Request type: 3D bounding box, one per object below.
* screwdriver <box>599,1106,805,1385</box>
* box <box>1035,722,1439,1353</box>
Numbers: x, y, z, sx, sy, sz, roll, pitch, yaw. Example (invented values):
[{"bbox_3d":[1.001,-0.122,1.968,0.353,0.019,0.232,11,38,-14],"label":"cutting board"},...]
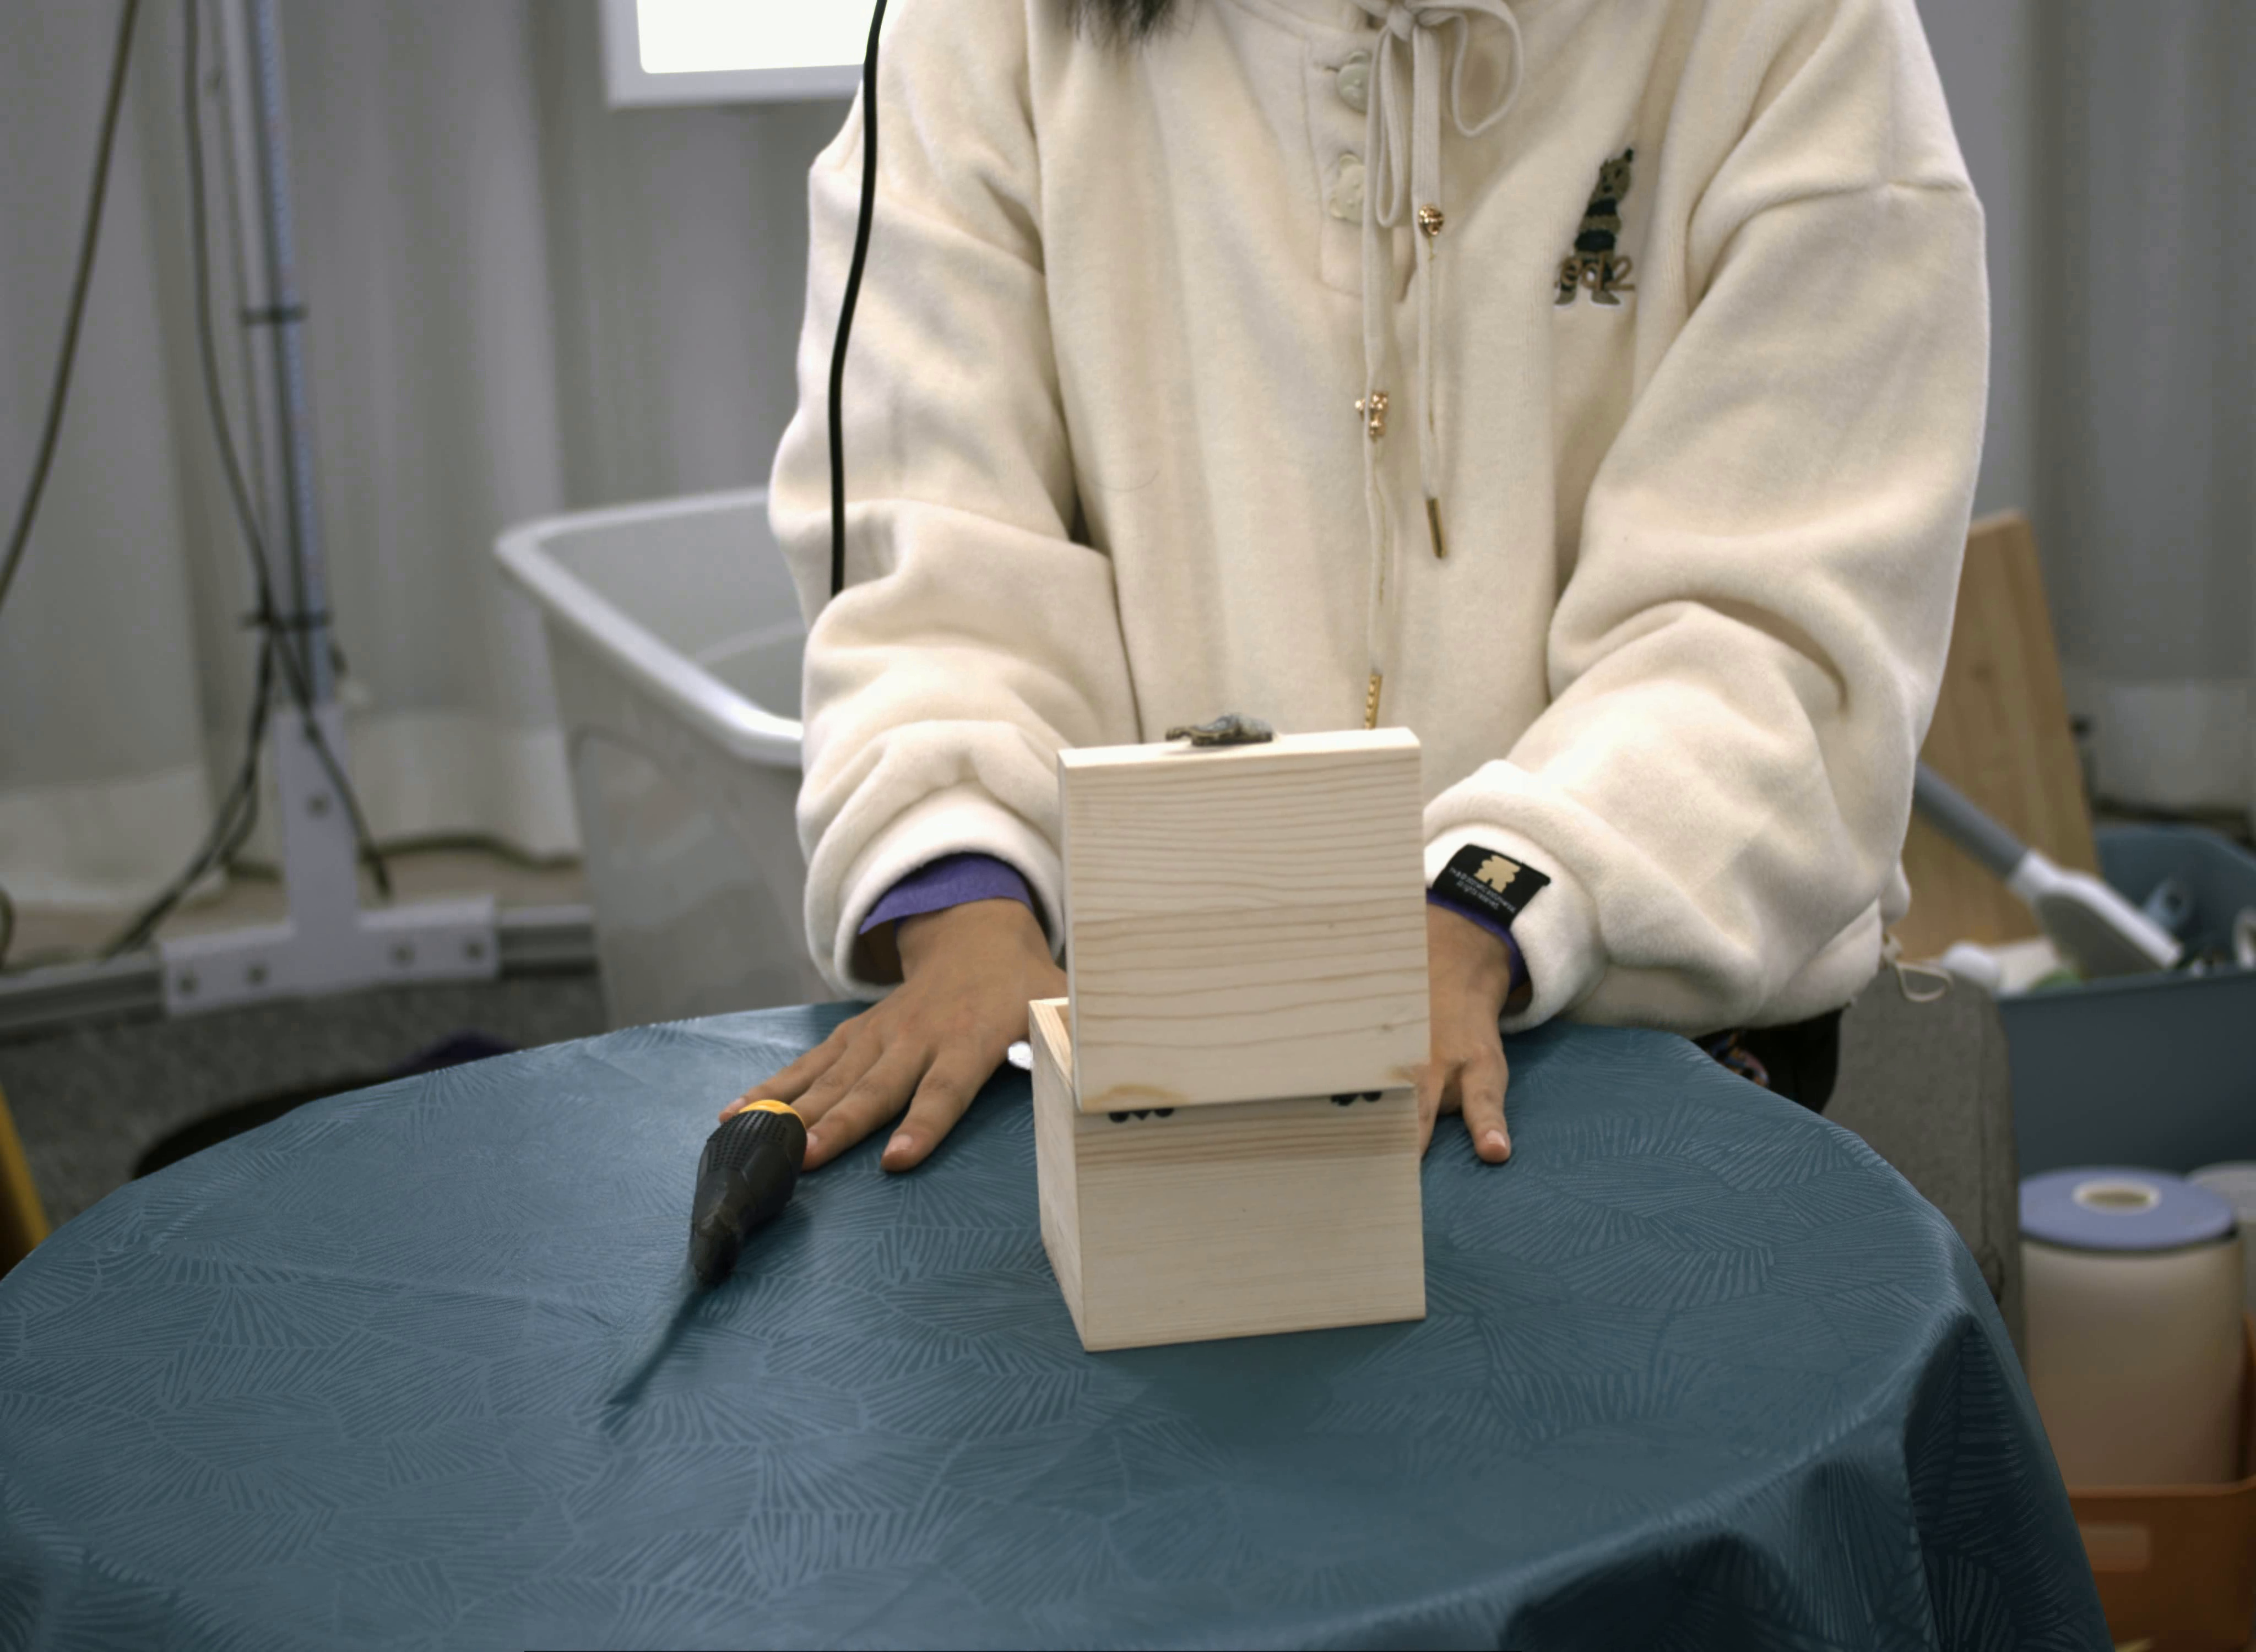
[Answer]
[{"bbox_3d":[-0.133,0.128,1.648,0.031,0.031,0.199,1,18,14],"label":"screwdriver"},{"bbox_3d":[0.029,0.049,1.598,0.102,0.184,0.135,-5,15,-8],"label":"box"}]
